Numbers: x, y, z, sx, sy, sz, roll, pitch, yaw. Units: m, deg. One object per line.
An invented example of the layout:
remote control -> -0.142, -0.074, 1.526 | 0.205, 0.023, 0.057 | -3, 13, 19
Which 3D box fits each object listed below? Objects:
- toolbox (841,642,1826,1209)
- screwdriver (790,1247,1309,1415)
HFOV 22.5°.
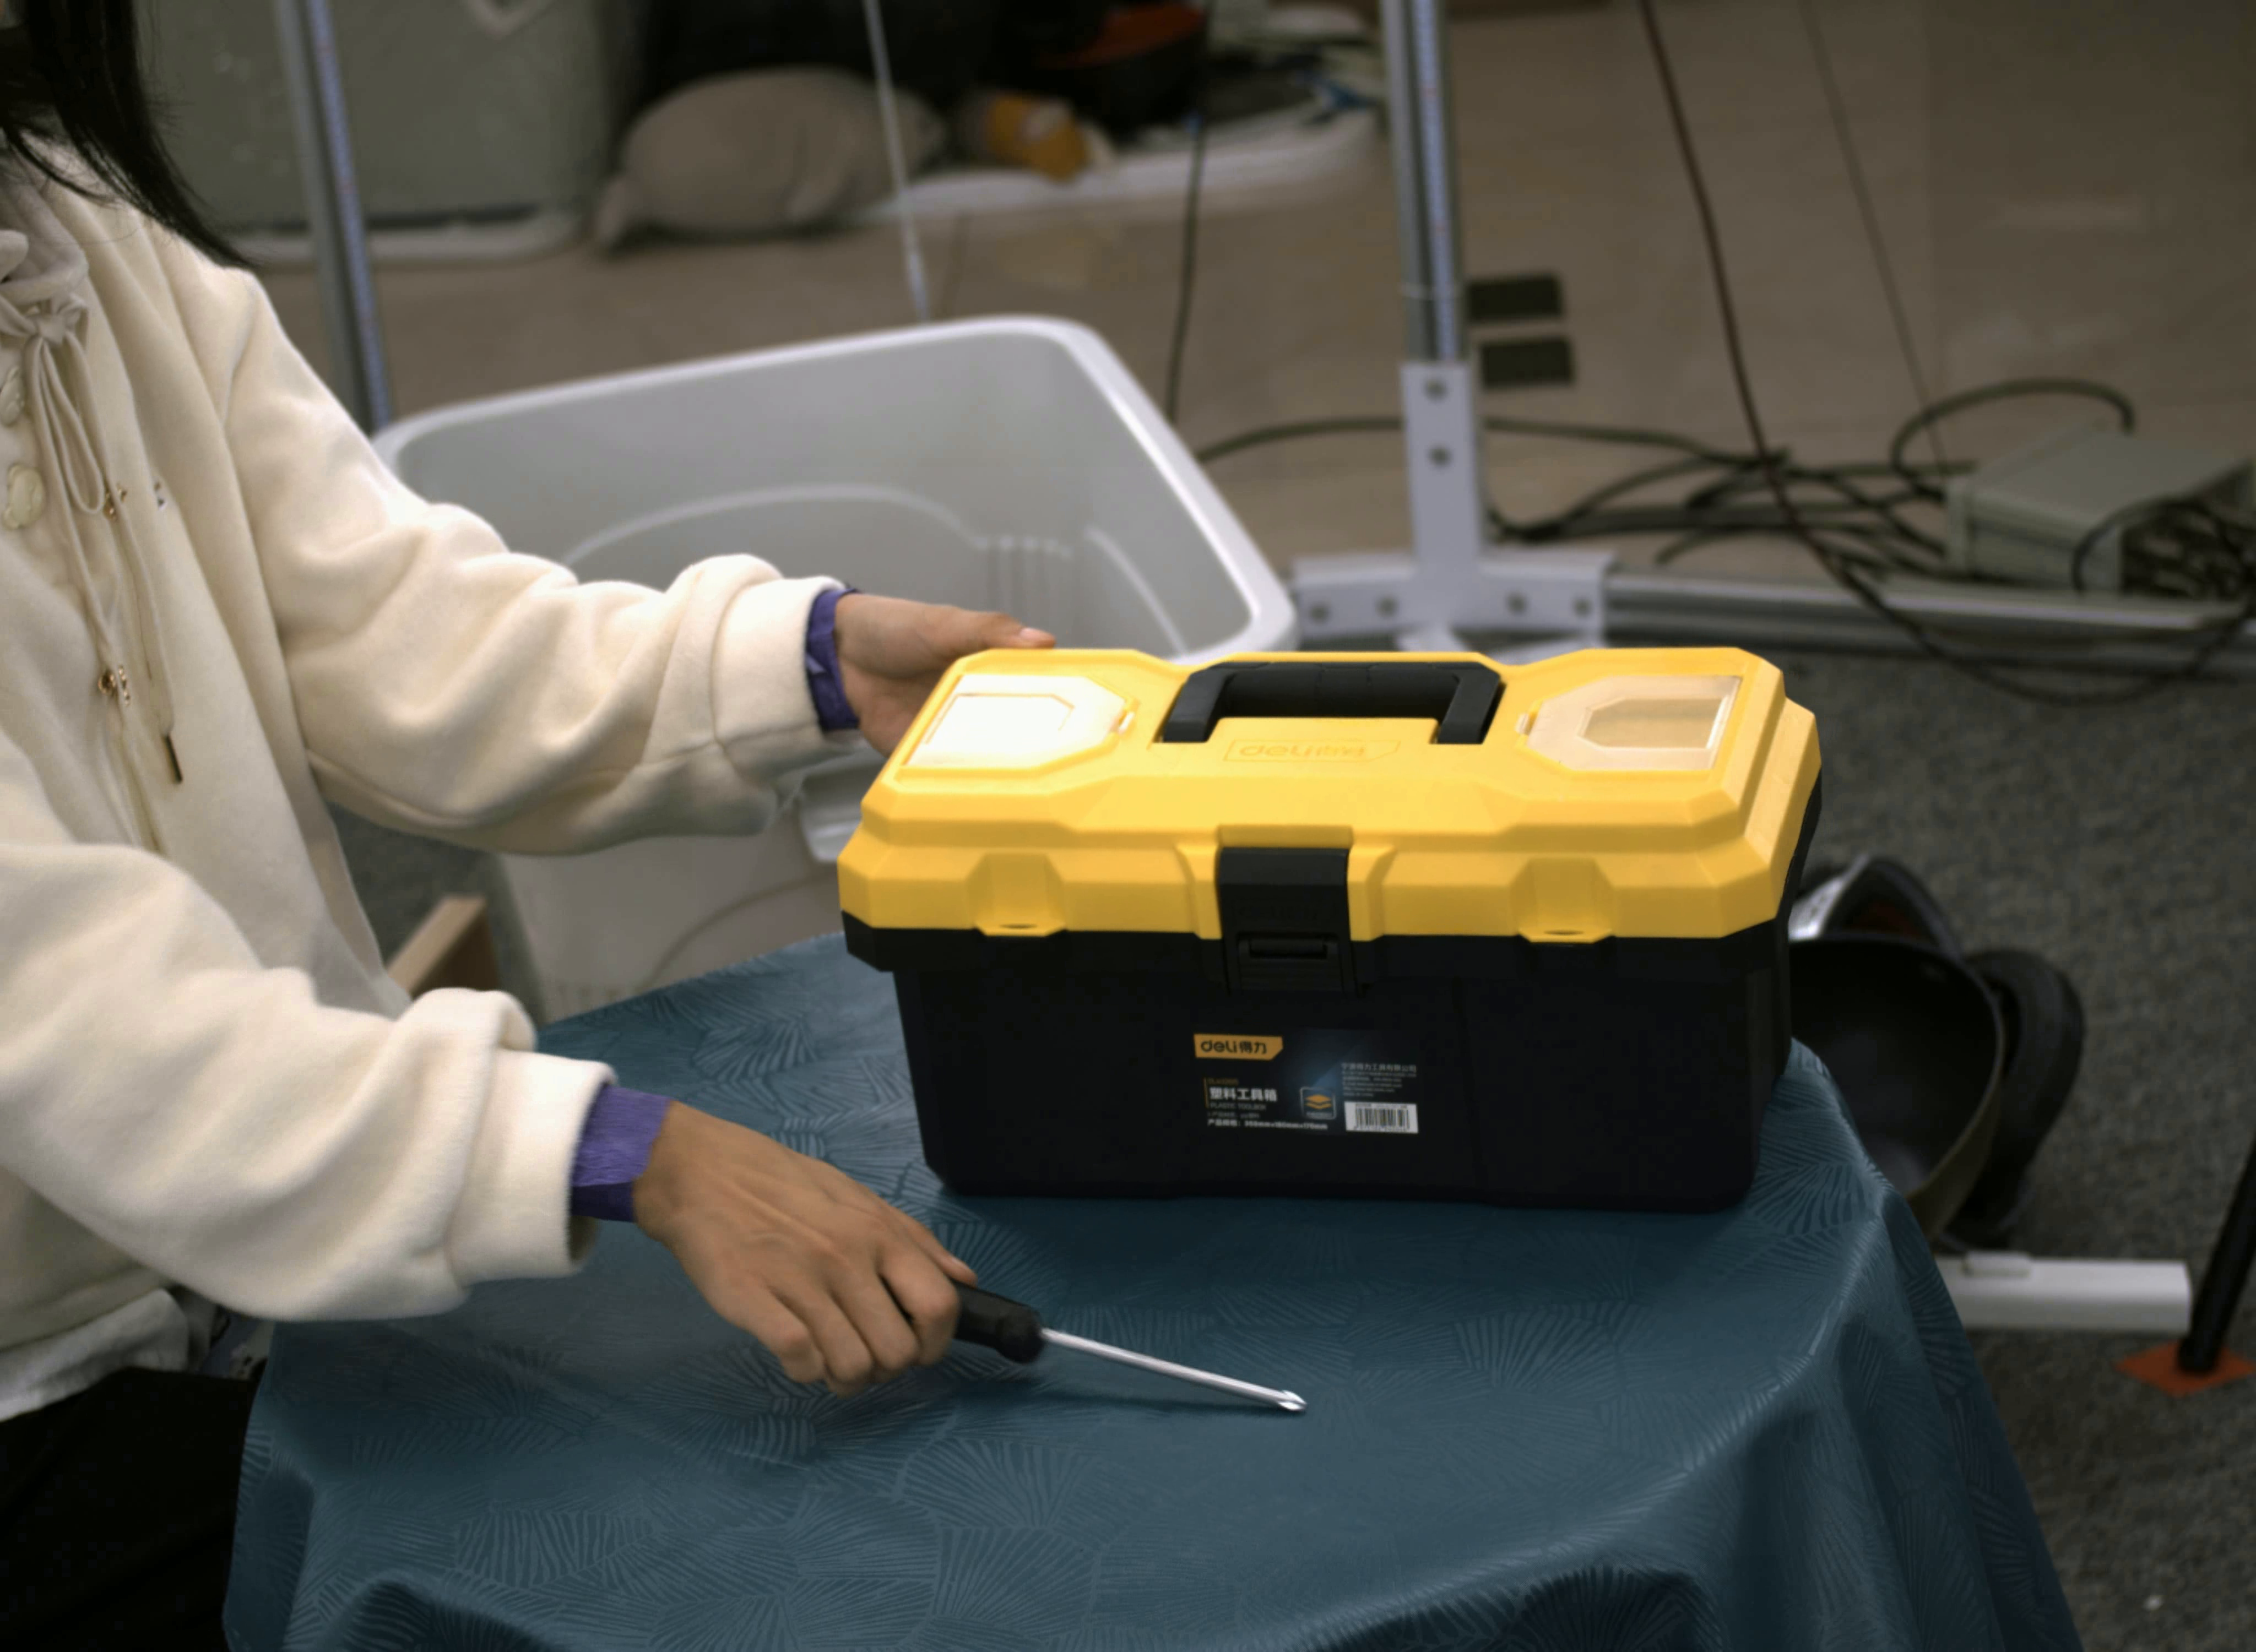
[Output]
toolbox -> 0.081, 0.037, 2.138 | 0.351, 0.175, 0.179 | 1, 27, 15
screwdriver -> -0.029, 0.181, 2.011 | 0.195, 0.032, 0.031 | 12, 30, 19
